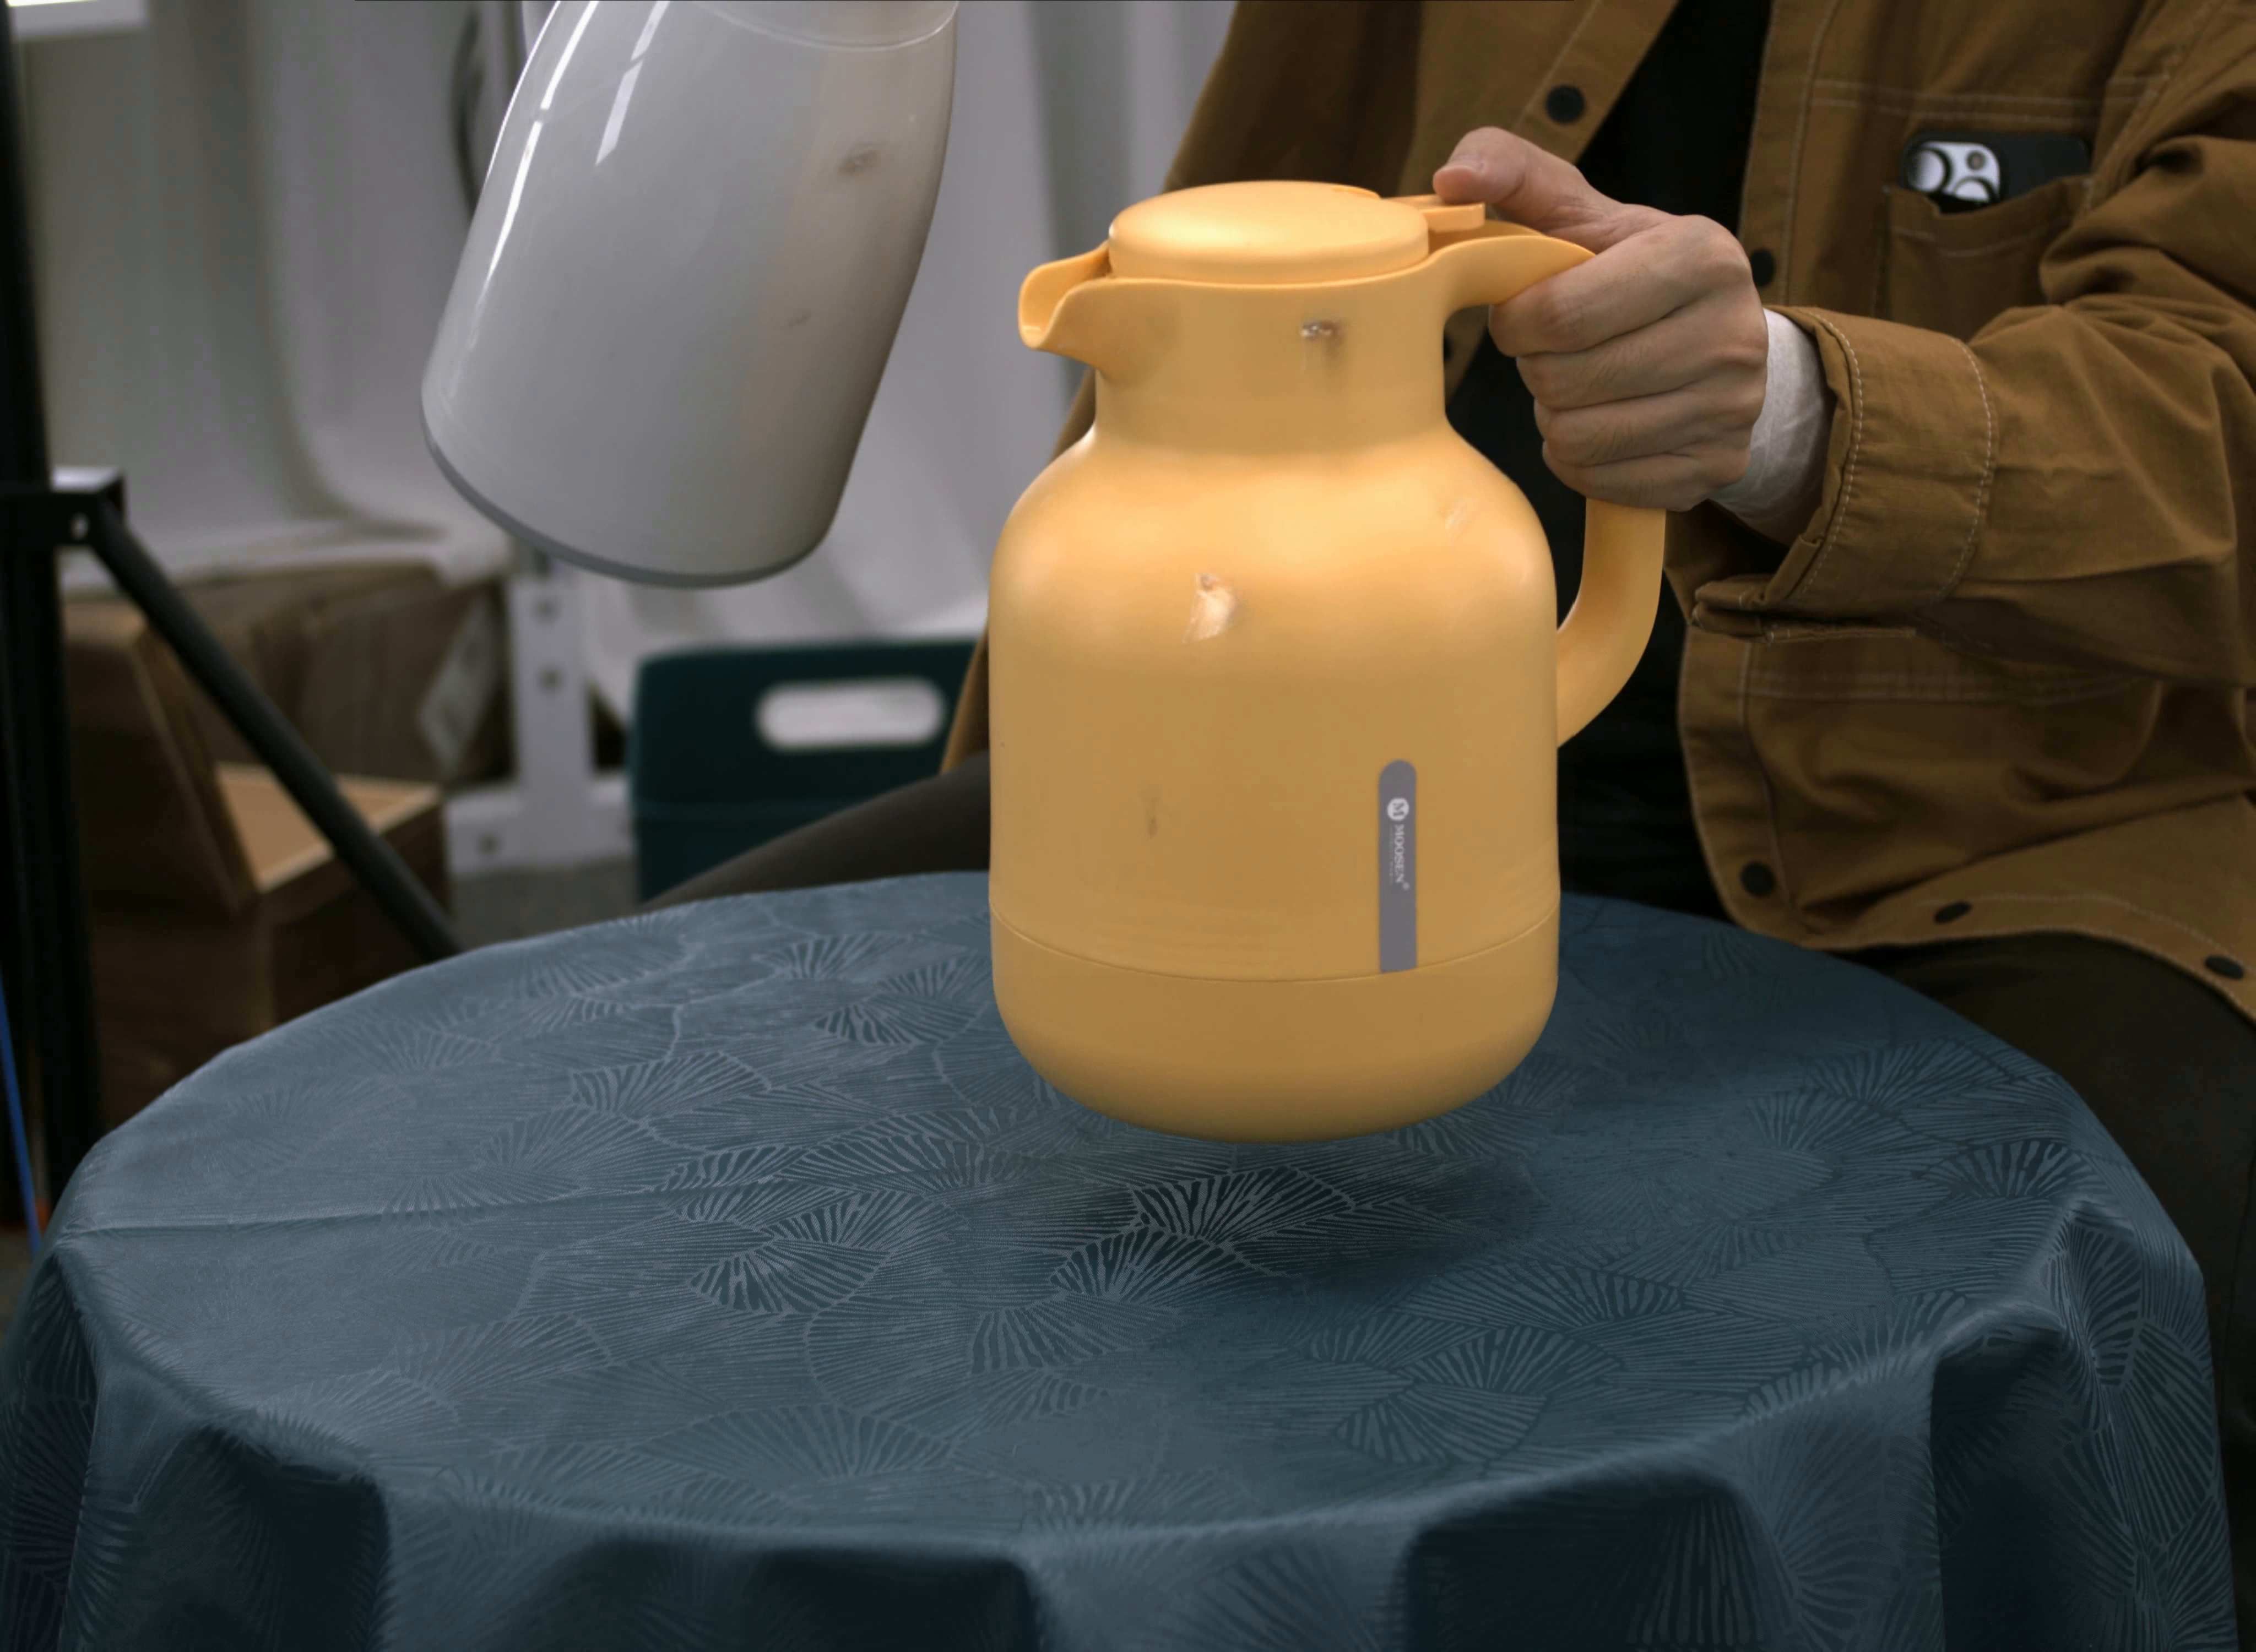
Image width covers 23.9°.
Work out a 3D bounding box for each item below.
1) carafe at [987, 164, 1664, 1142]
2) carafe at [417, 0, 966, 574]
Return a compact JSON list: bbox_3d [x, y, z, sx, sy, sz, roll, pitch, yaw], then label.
[{"bbox_3d":[0.059,-0.054,1.497,0.198,0.260,0.166,-9,20,-20],"label":"carafe"},{"bbox_3d":[-0.125,-0.221,1.567,0.129,0.249,0.171,-15,50,-40],"label":"carafe"}]
